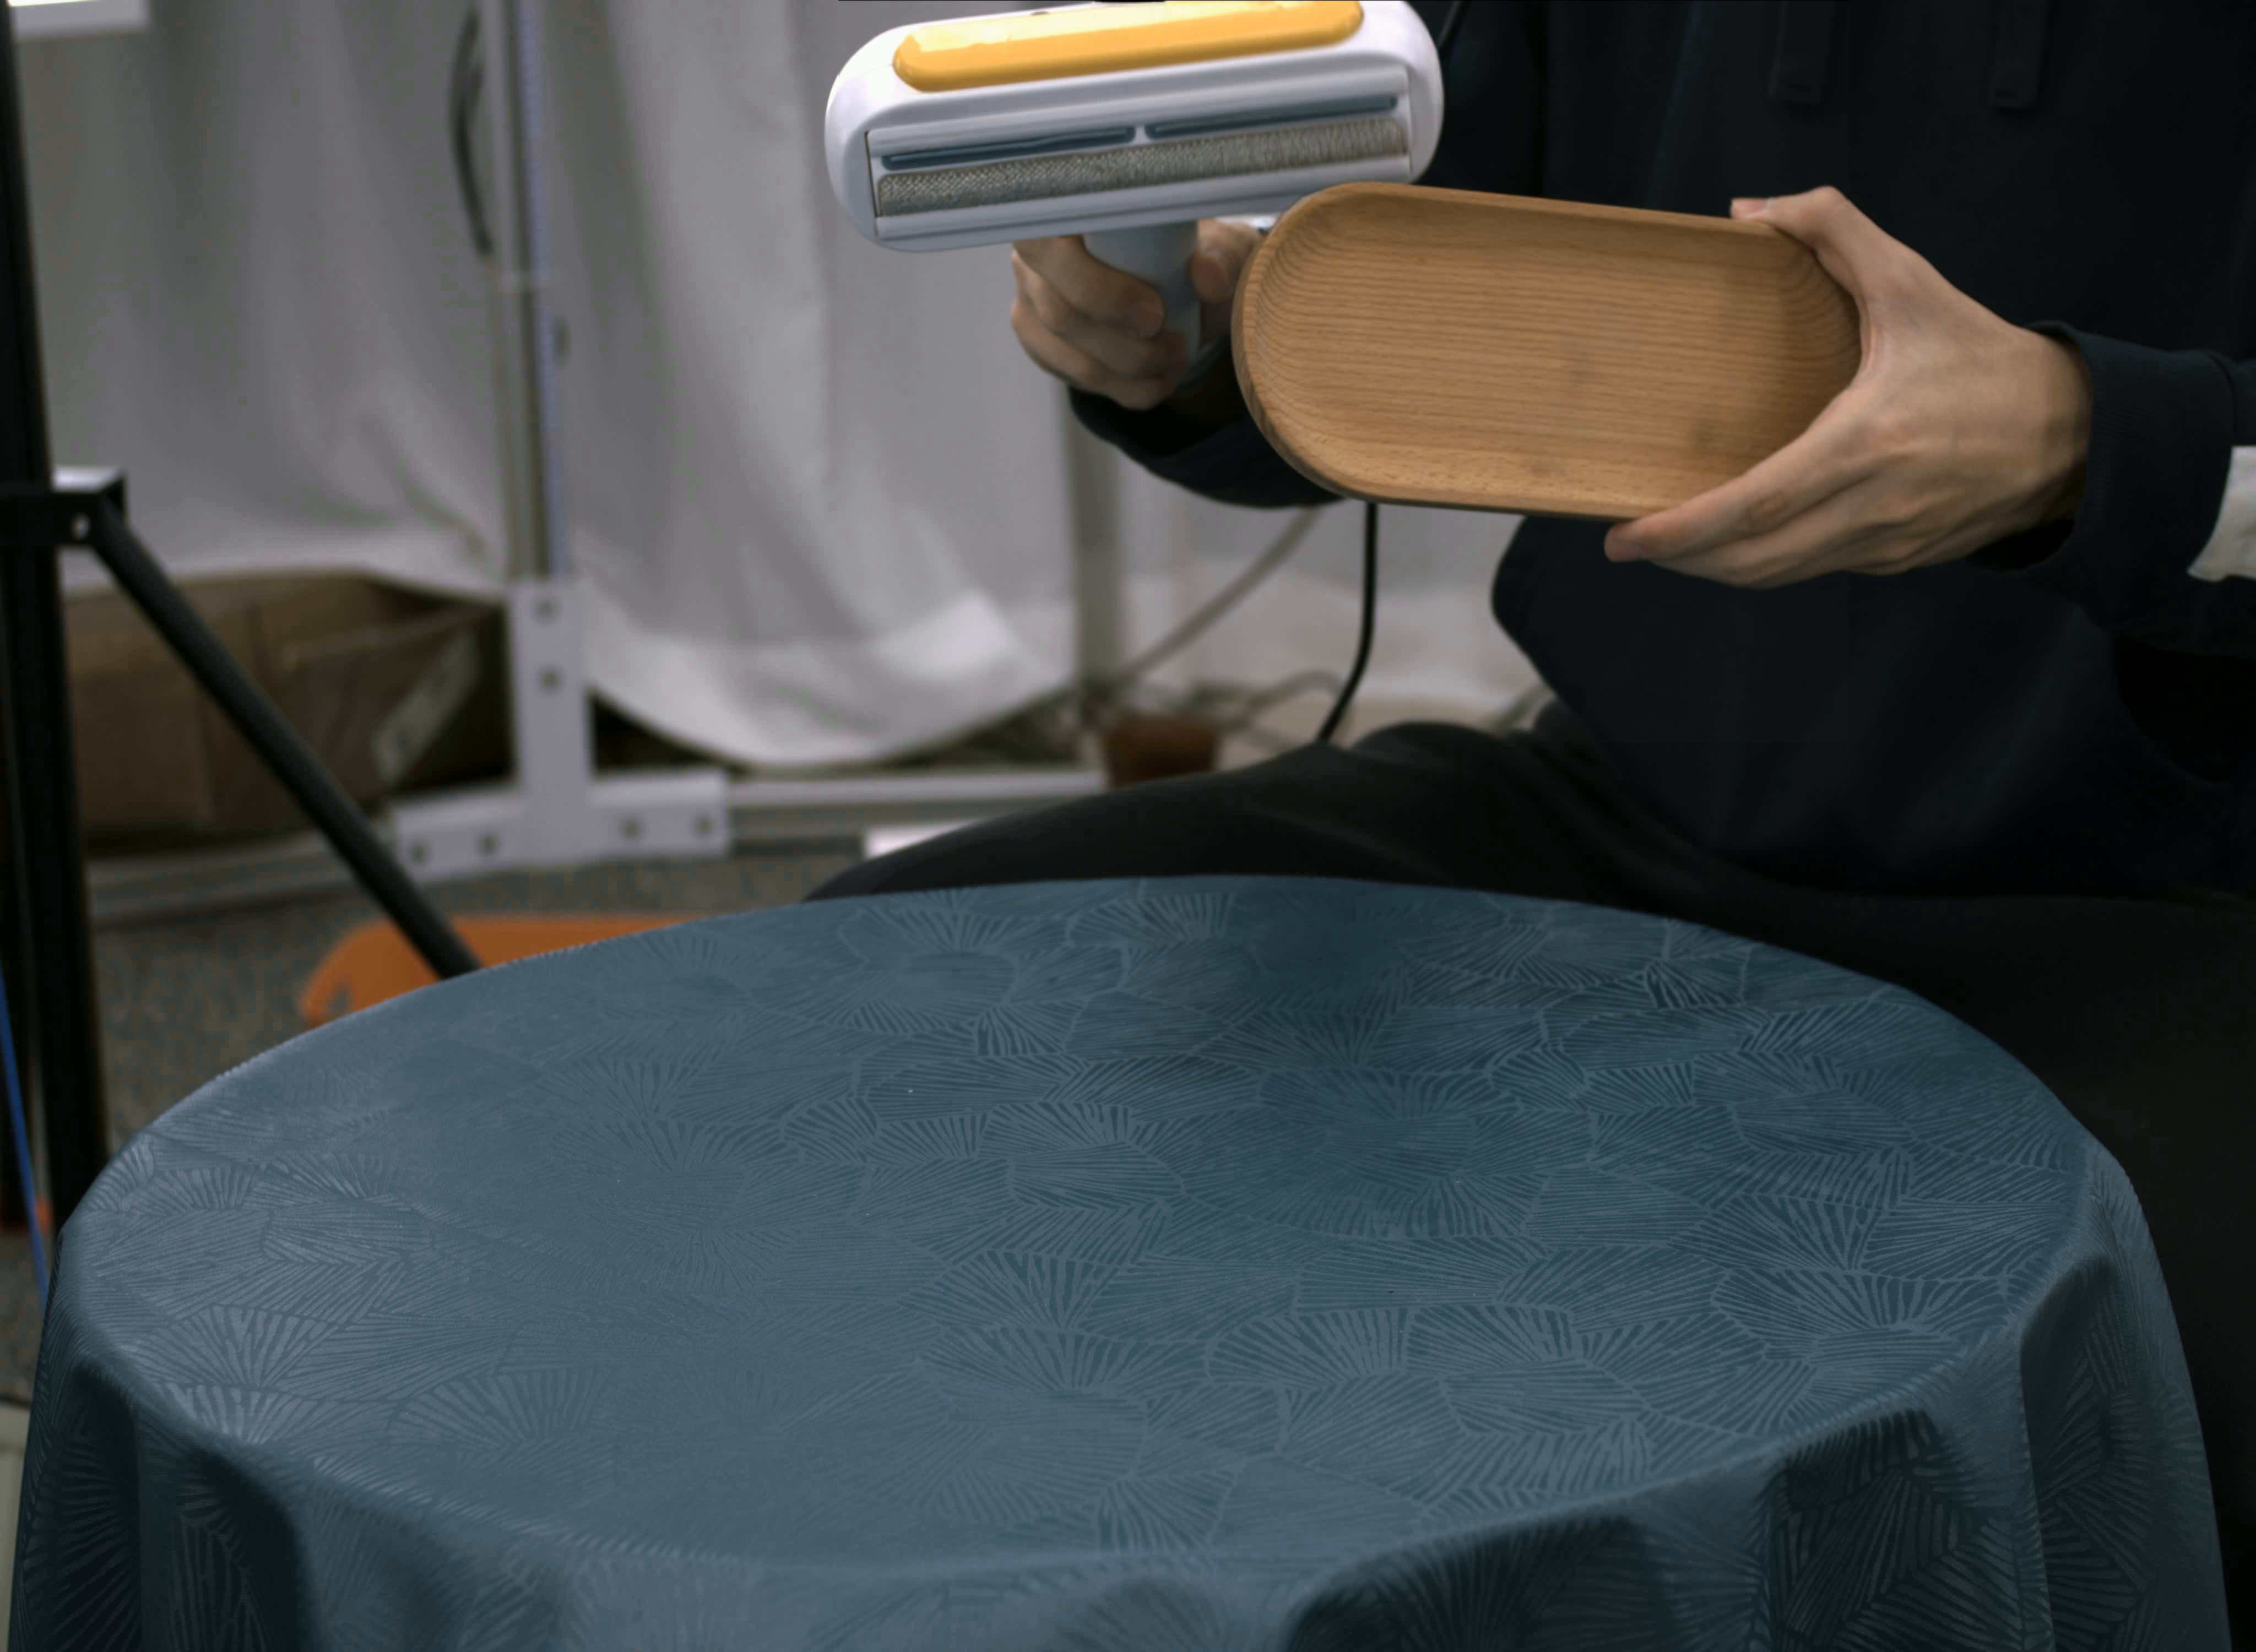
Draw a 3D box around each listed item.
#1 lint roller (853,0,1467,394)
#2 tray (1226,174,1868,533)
[{"bbox_3d":[0.007,-0.194,1.717,0.191,0.191,0.075,-7,53,-6],"label":"lint roller"},{"bbox_3d":[0.132,-0.145,1.660,0.226,0.102,0.020,3,-9,-24],"label":"tray"}]
